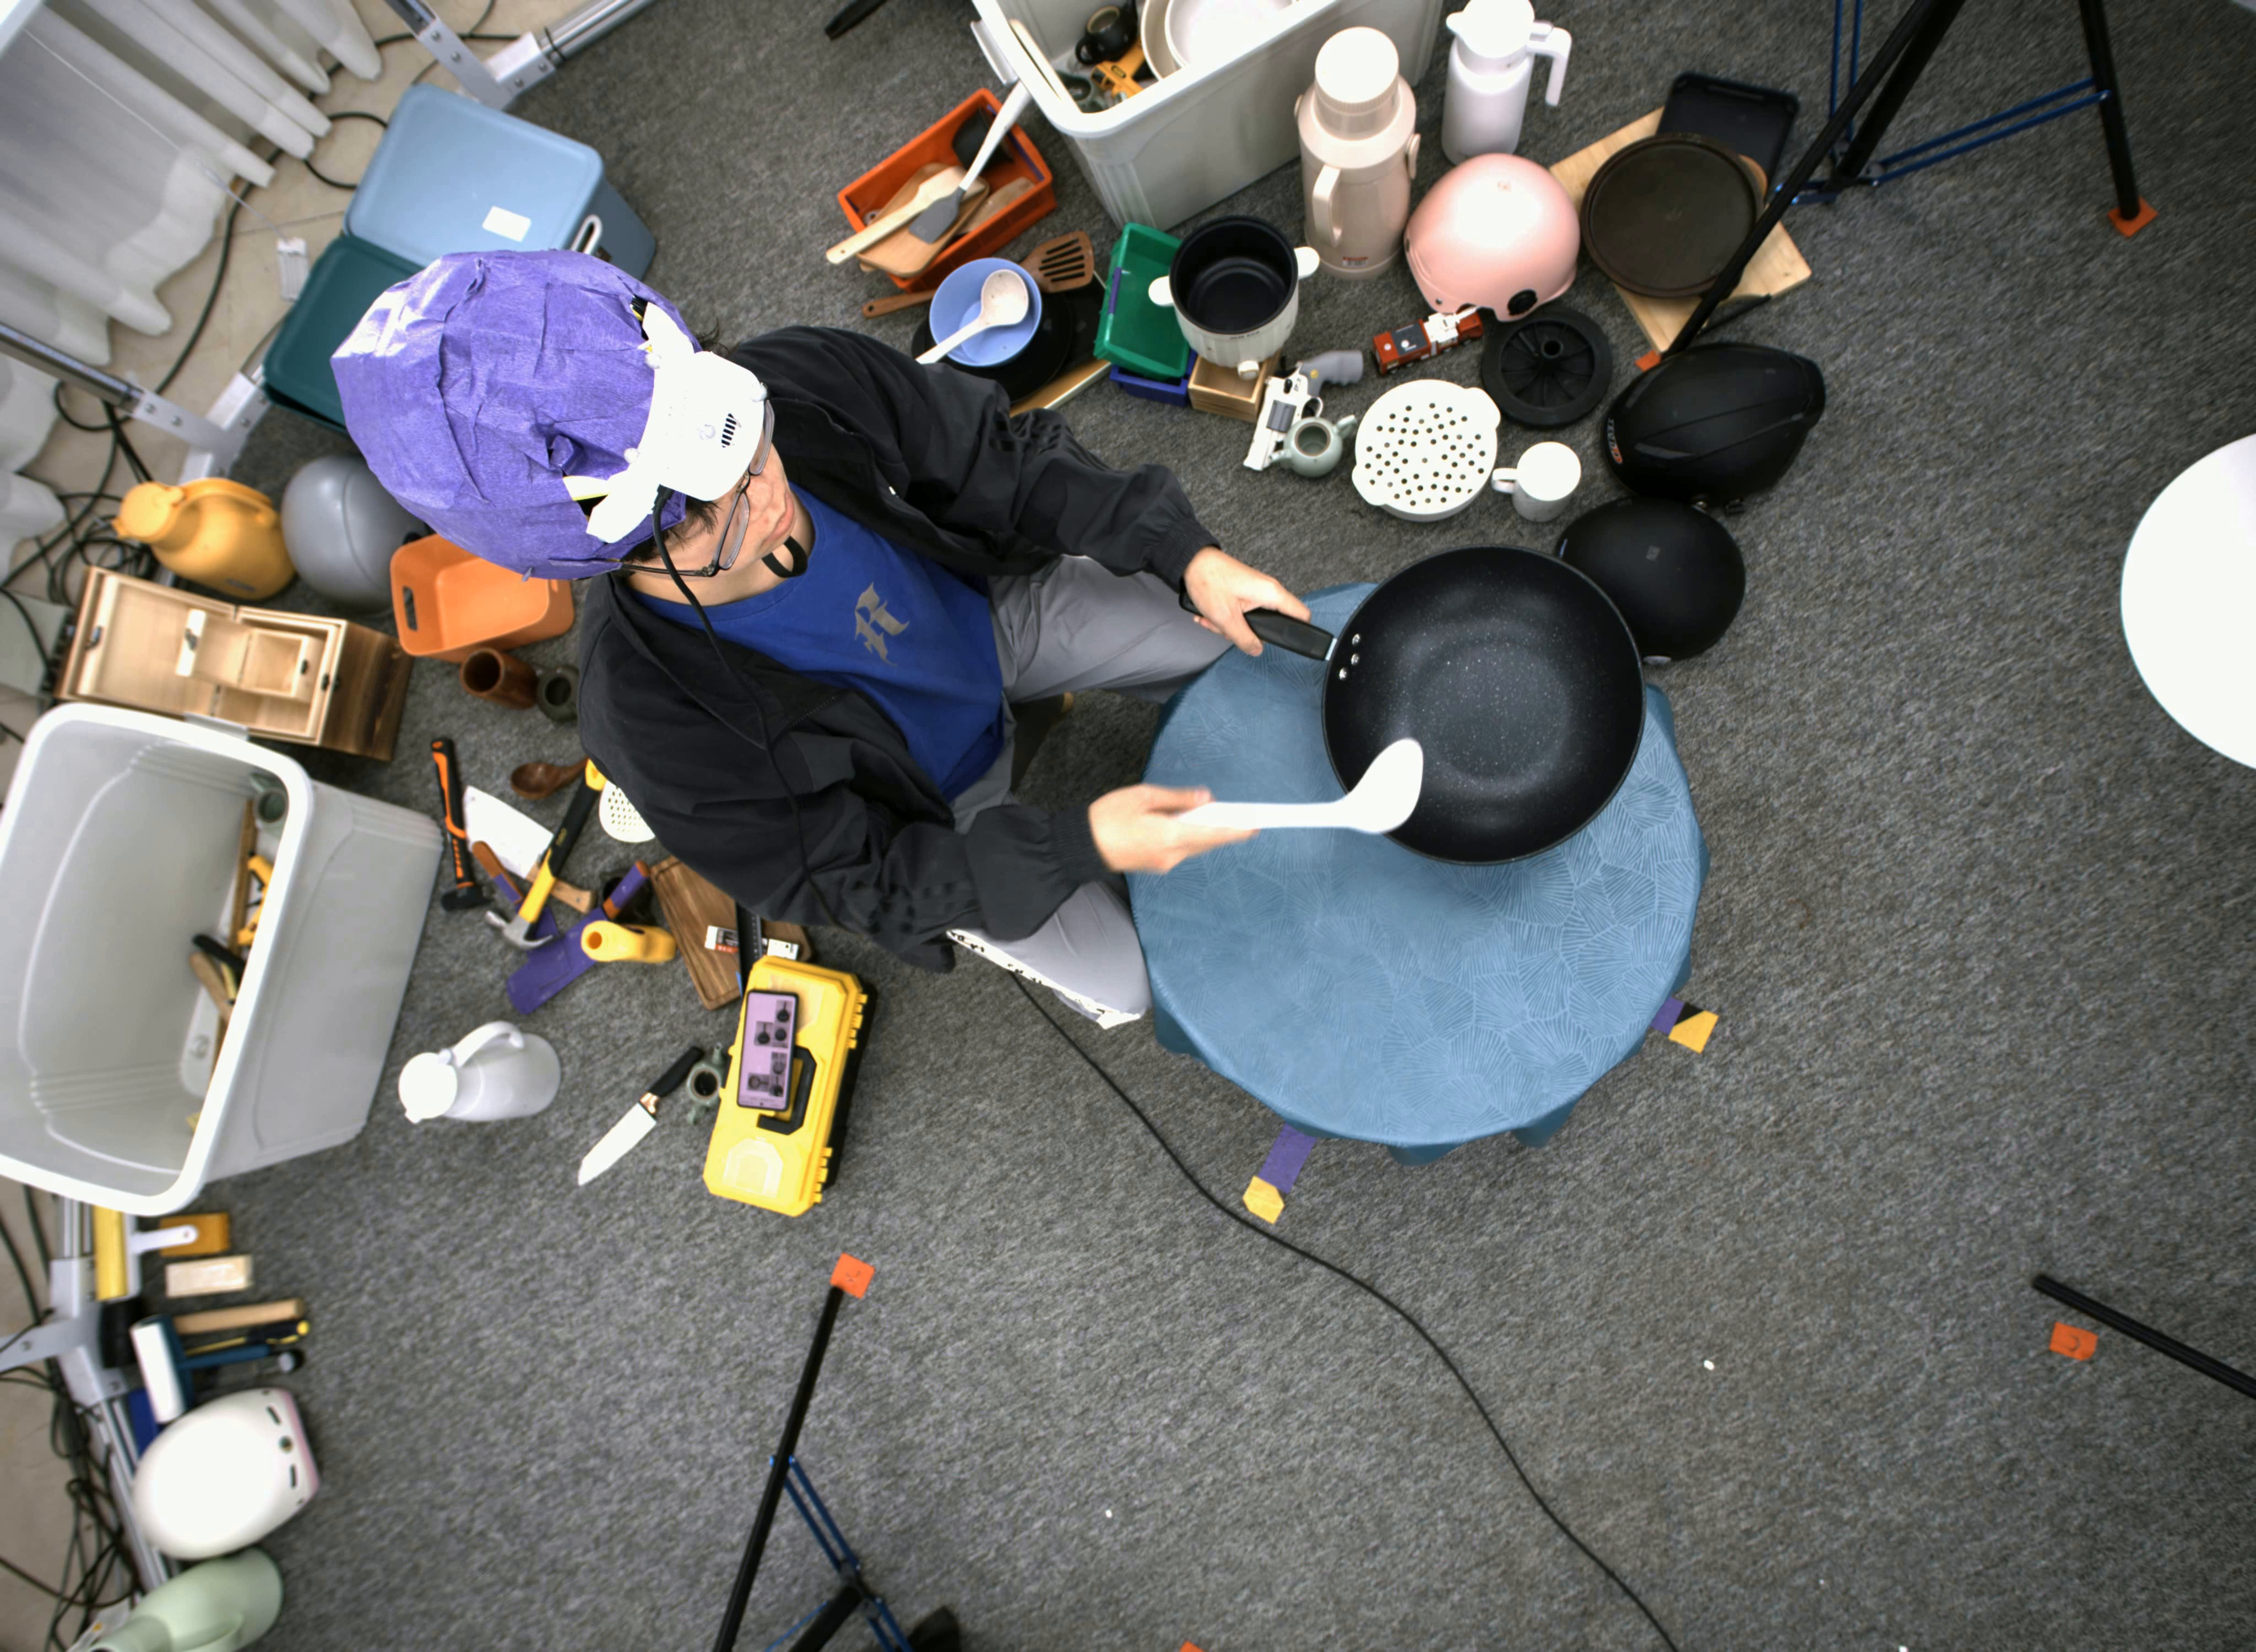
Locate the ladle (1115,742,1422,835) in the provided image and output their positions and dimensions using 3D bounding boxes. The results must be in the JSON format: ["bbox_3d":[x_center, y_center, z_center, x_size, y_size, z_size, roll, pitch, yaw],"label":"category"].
[{"bbox_3d":[0.124,-0.025,1.265,0.295,0.071,0.088,-3,63,18],"label":"ladle"}]

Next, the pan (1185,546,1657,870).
[{"bbox_3d":[0.281,-0.146,1.360,0.476,0.111,0.313,25,101,22],"label":"pan"}]
